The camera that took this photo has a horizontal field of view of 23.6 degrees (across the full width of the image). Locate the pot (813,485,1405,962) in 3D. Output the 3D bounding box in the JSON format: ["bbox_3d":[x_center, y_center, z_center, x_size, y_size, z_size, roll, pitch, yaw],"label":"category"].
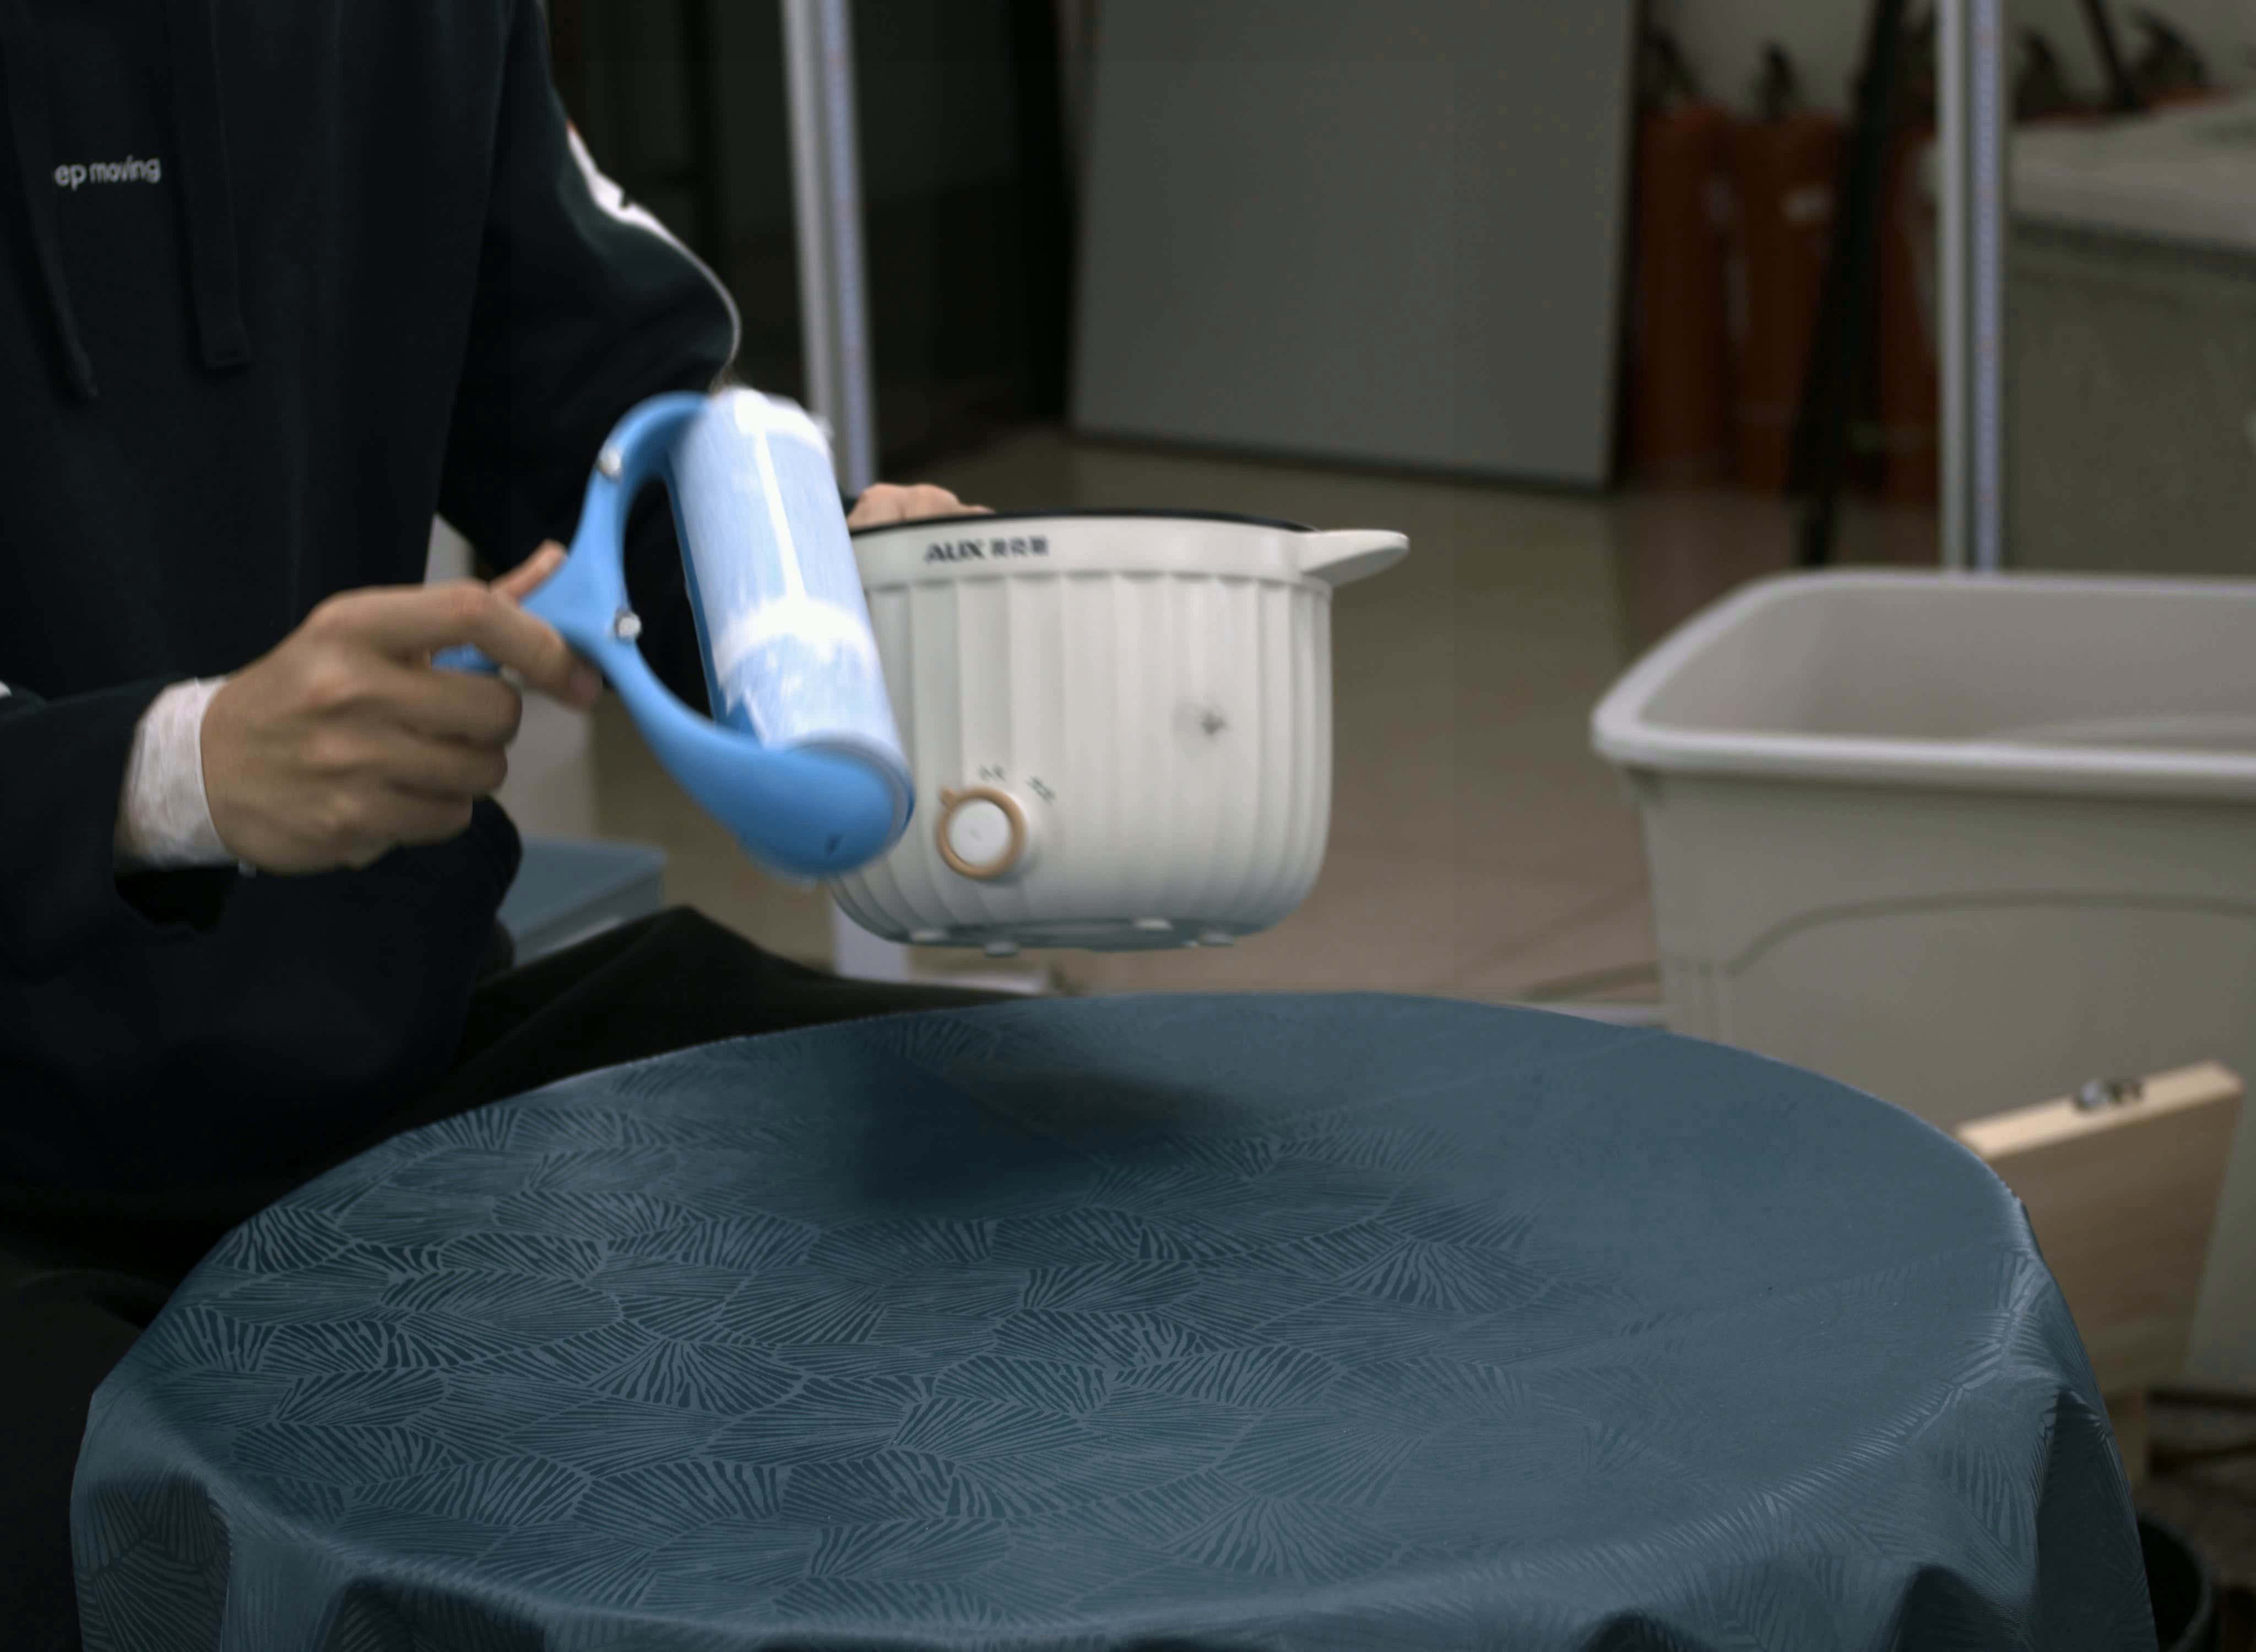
[{"bbox_3d":[-0.021,-0.031,1.819,0.239,0.144,0.188,-5,-11,17],"label":"pot"}]

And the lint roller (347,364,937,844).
[{"bbox_3d":[-0.159,-0.053,1.651,0.178,0.068,0.231,-19,38,-5],"label":"lint roller"}]
